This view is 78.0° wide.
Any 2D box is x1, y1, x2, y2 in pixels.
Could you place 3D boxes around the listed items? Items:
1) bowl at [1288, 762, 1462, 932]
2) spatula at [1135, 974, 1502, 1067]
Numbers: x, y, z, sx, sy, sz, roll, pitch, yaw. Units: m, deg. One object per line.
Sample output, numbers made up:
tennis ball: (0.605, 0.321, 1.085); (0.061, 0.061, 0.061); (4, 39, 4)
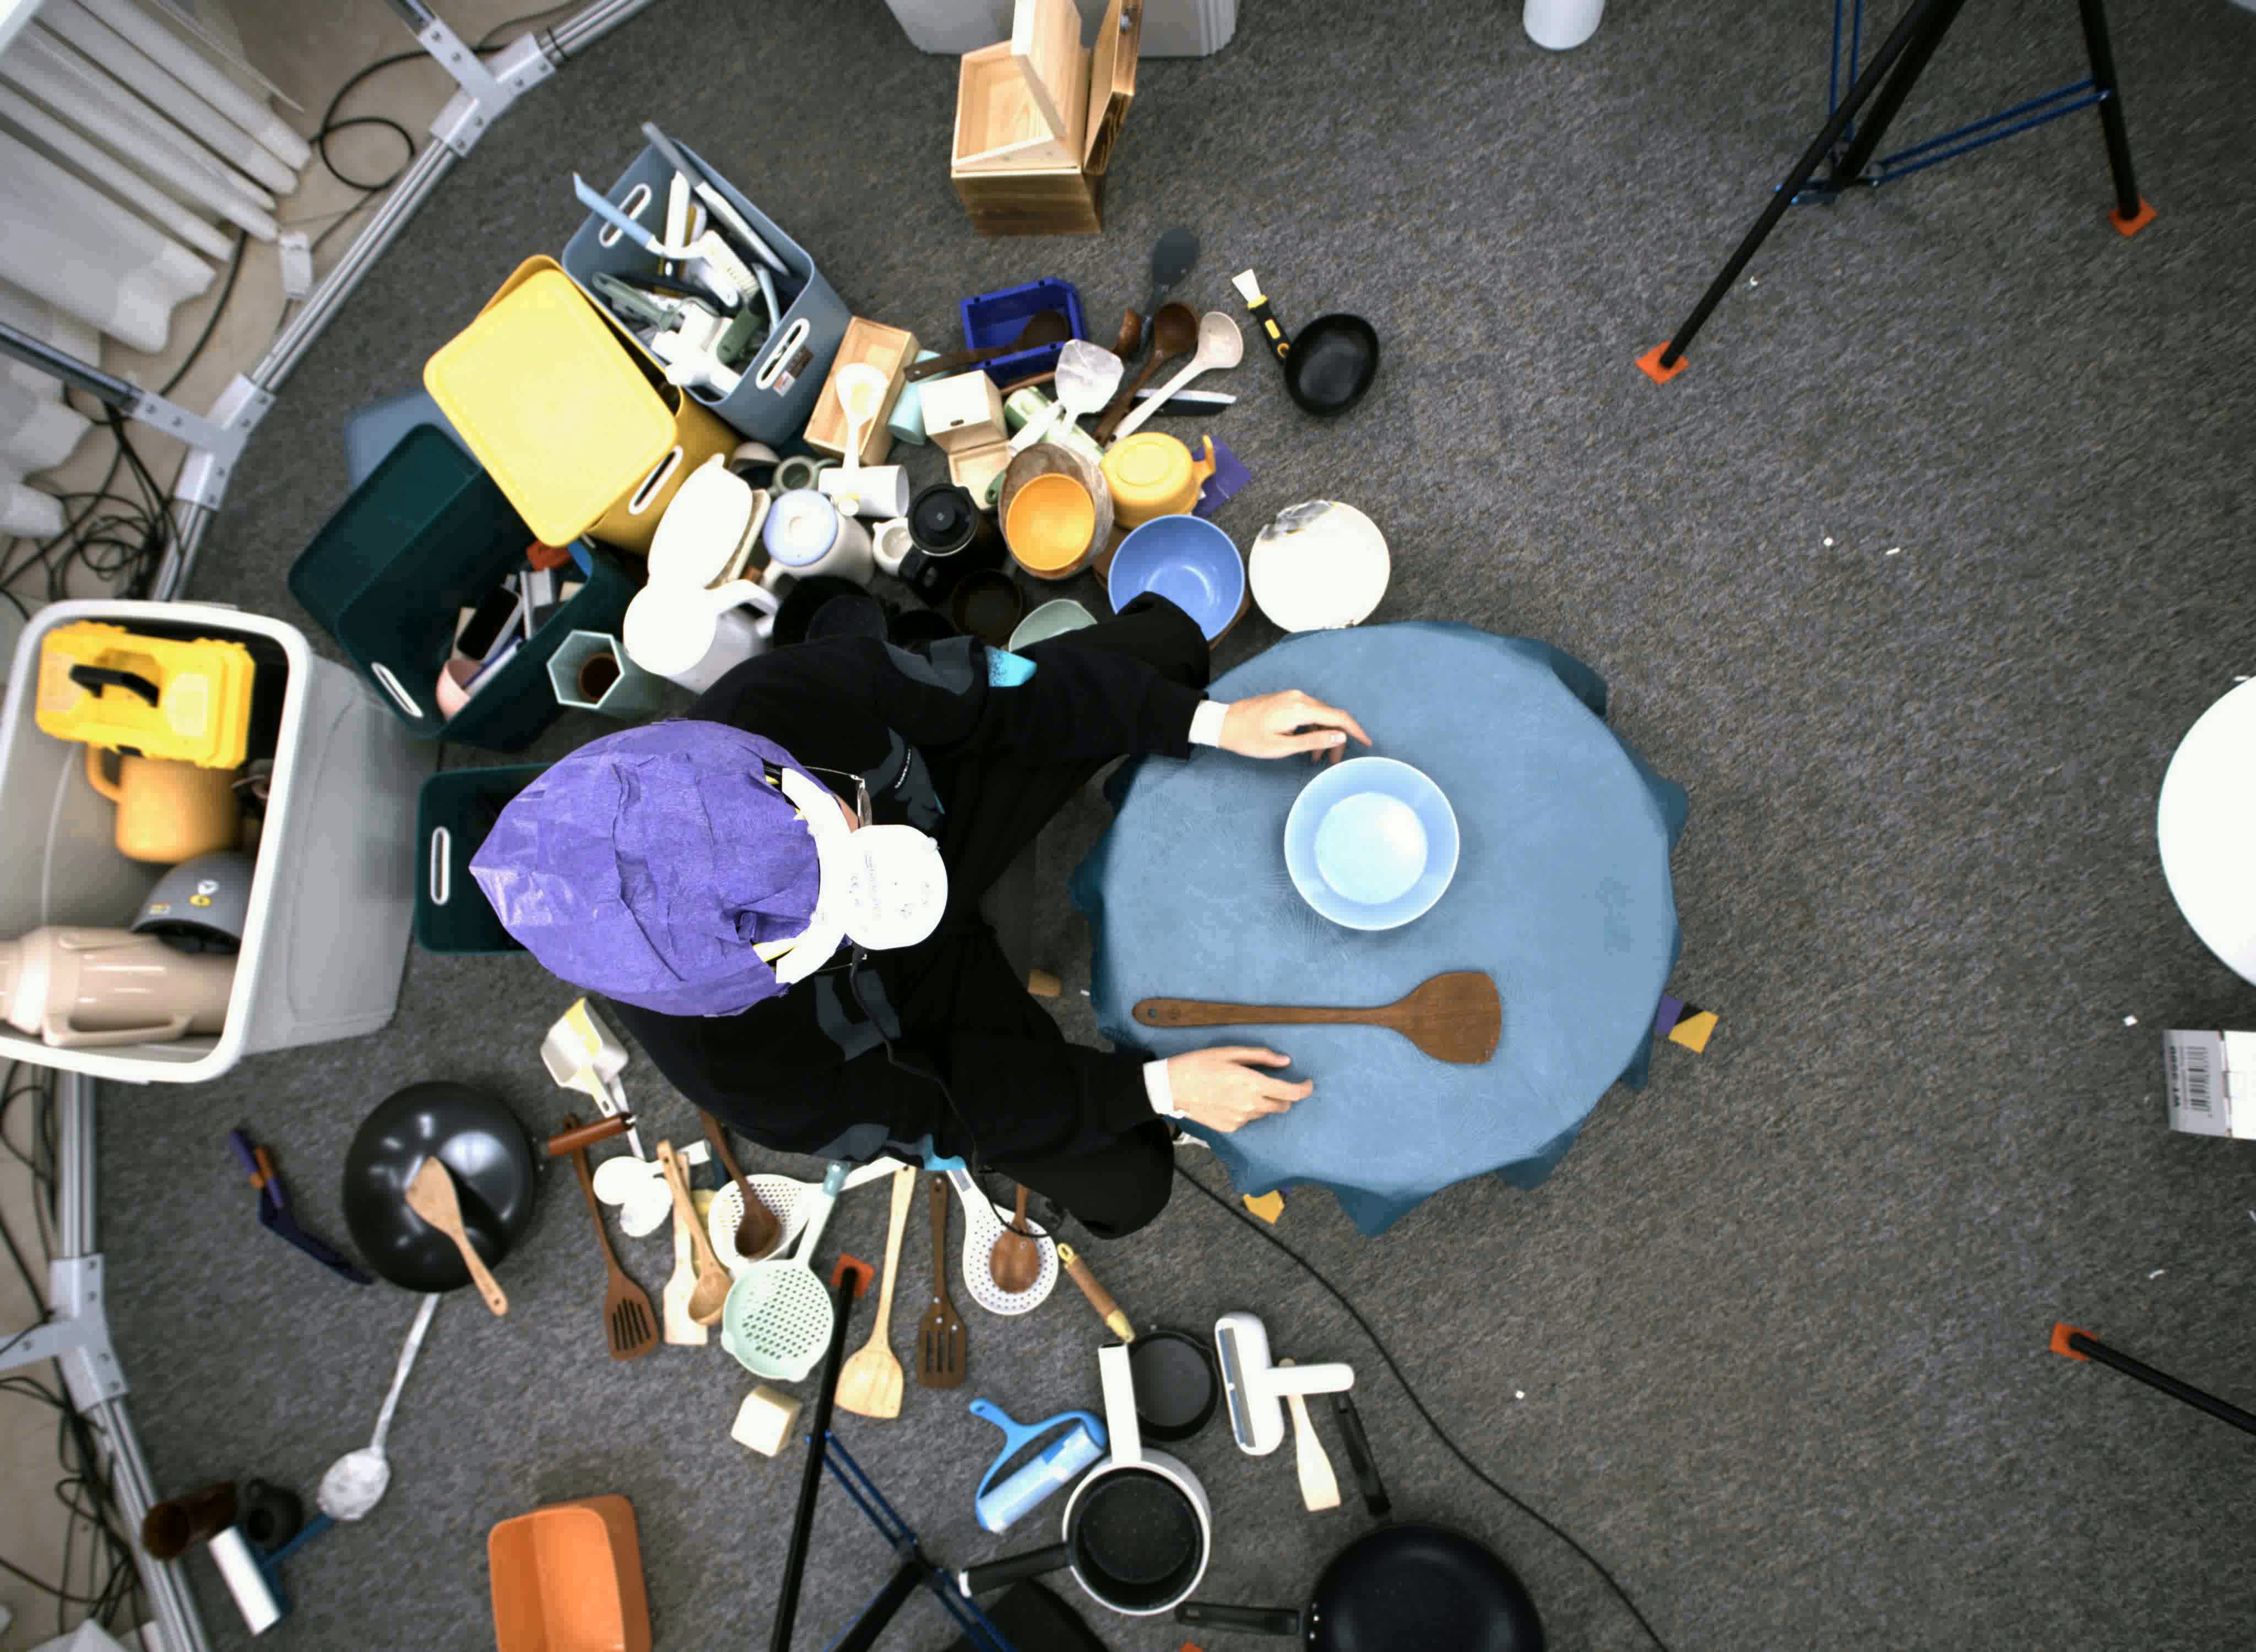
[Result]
bowl: (0.256, 0.023, 1.436); (0.177, 0.070, 0.175); (-1, 85, 11)
spatula: (0.197, 0.202, 1.462); (0.387, 0.016, 0.095); (-1, 86, 10)
